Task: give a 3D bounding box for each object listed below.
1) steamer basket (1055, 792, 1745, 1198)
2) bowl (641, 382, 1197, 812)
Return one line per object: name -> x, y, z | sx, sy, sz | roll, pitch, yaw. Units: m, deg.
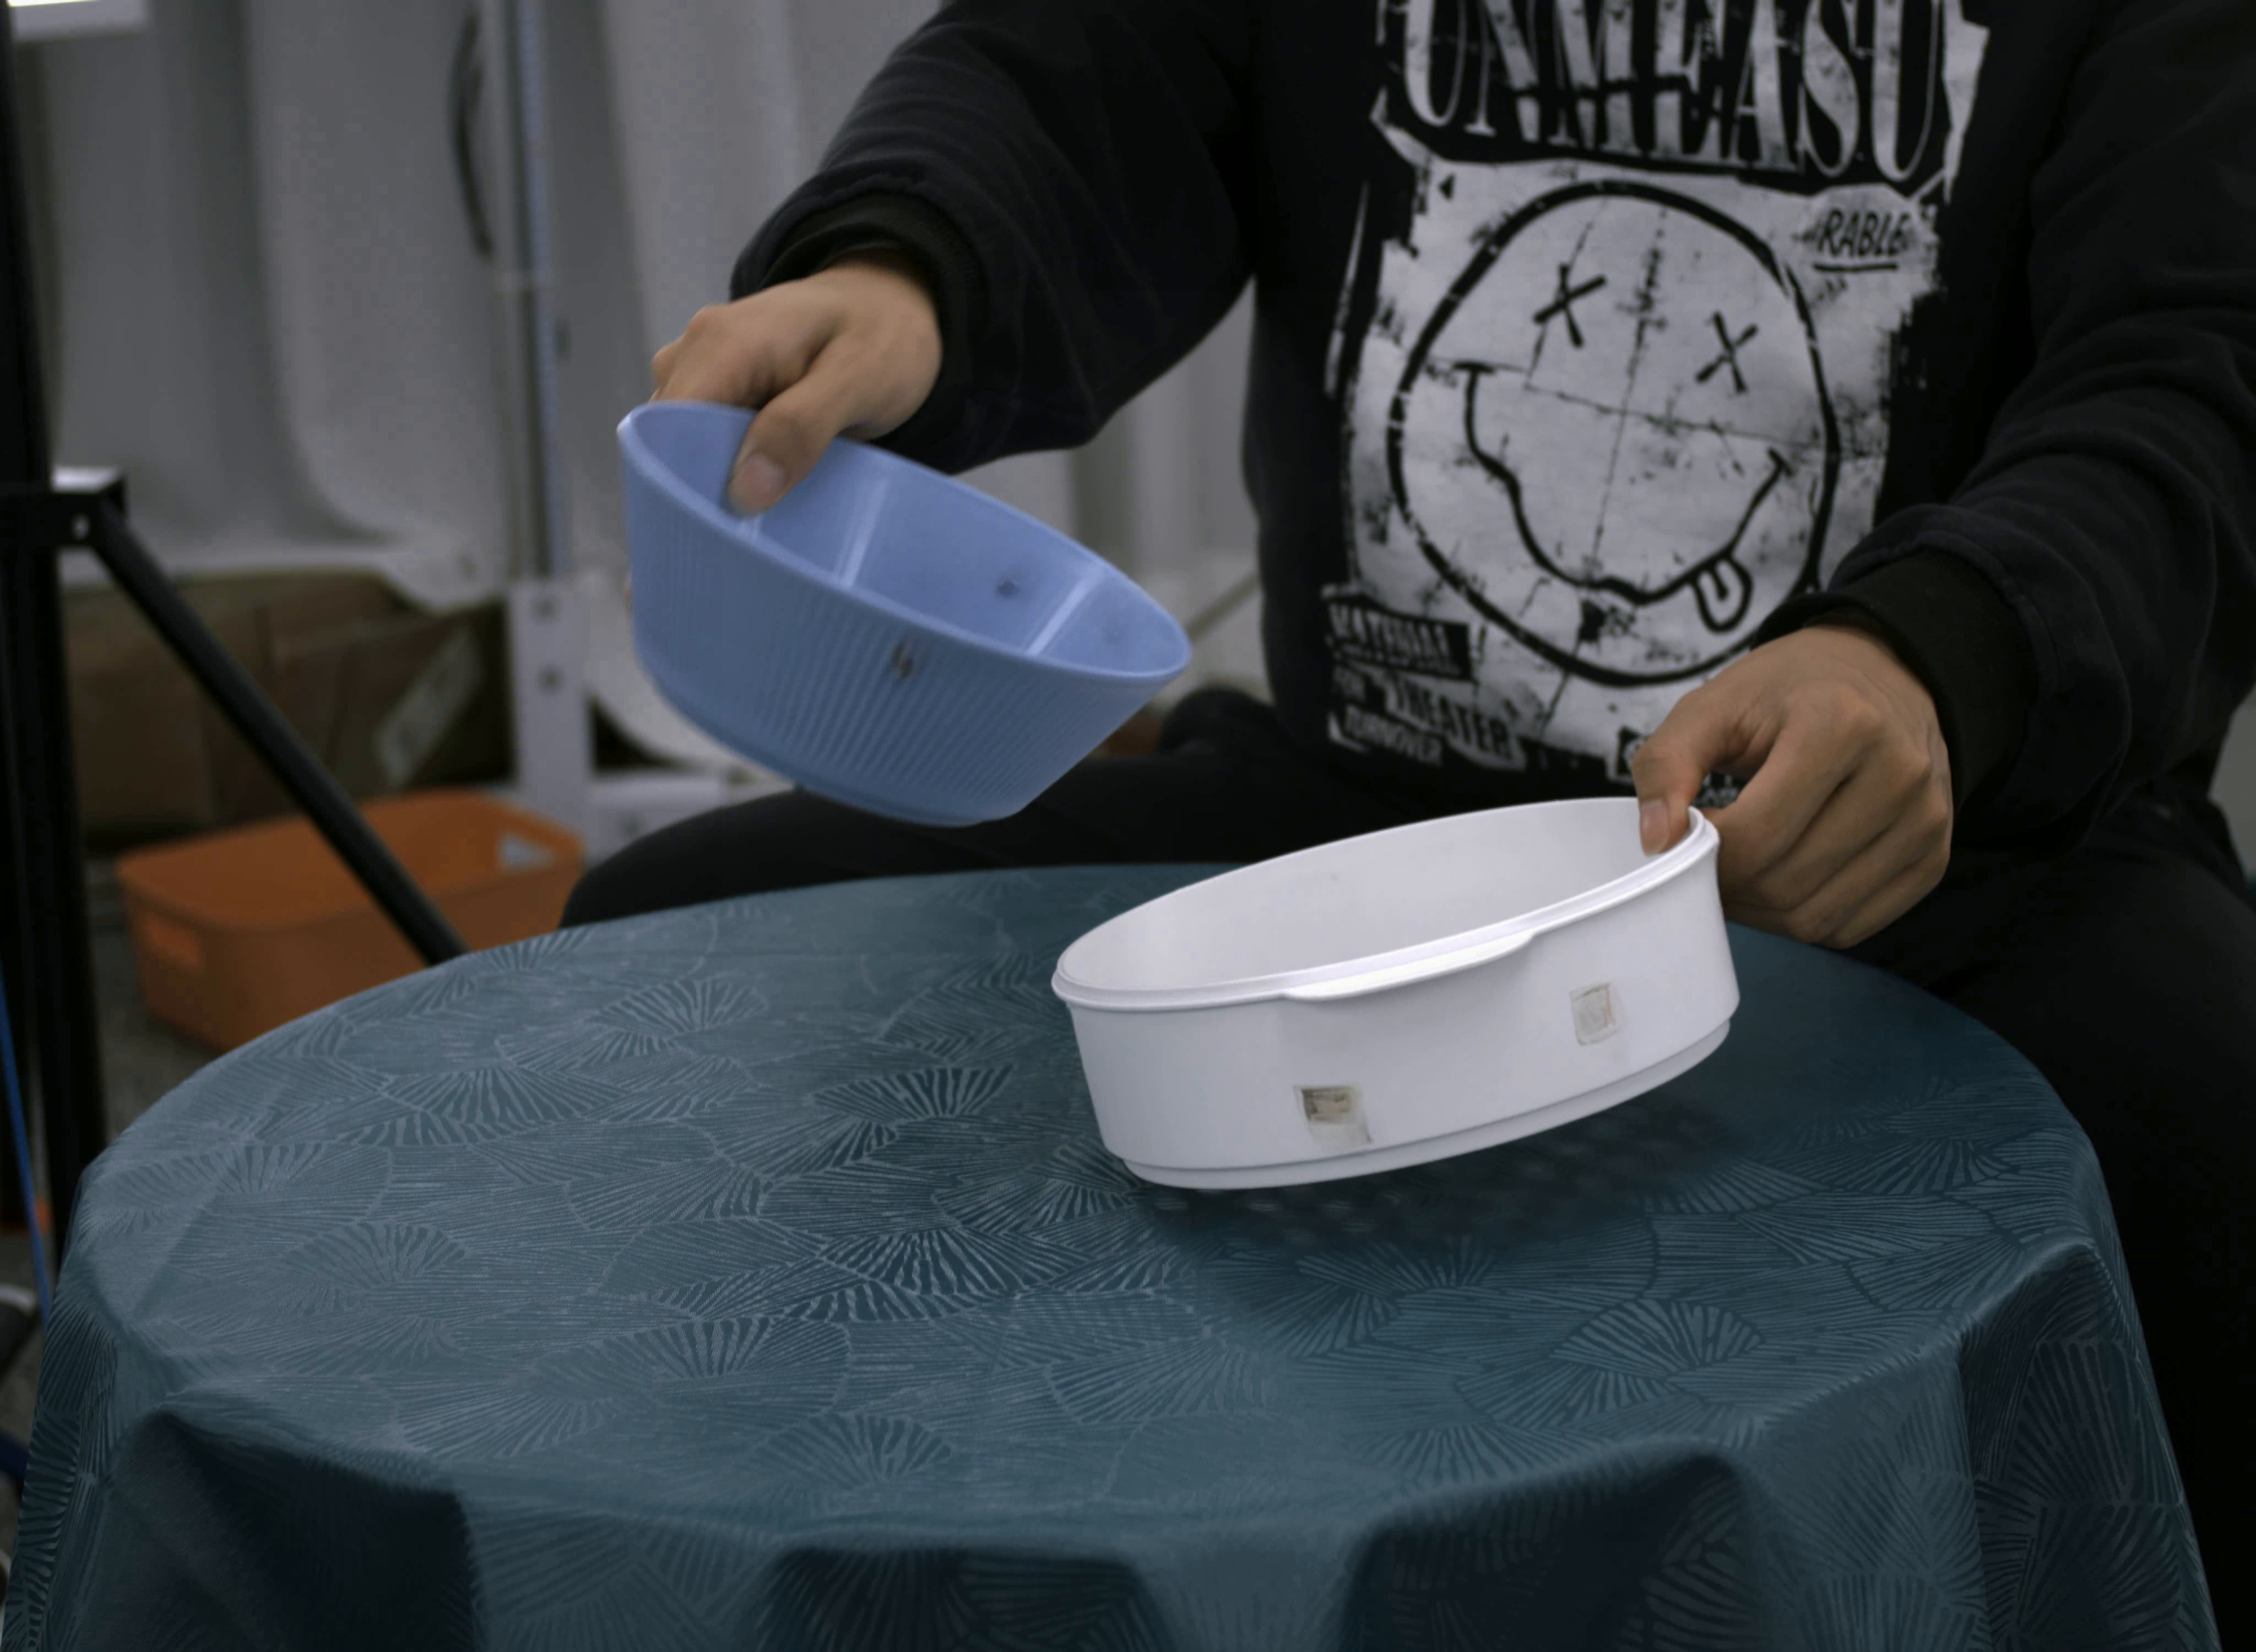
steamer basket -> 0.083, 0.051, 1.563 | 0.201, 0.069, 0.231 | -14, 11, 1
bowl -> -0.072, -0.060, 1.536 | 0.174, 0.070, 0.177 | 24, 14, -8
